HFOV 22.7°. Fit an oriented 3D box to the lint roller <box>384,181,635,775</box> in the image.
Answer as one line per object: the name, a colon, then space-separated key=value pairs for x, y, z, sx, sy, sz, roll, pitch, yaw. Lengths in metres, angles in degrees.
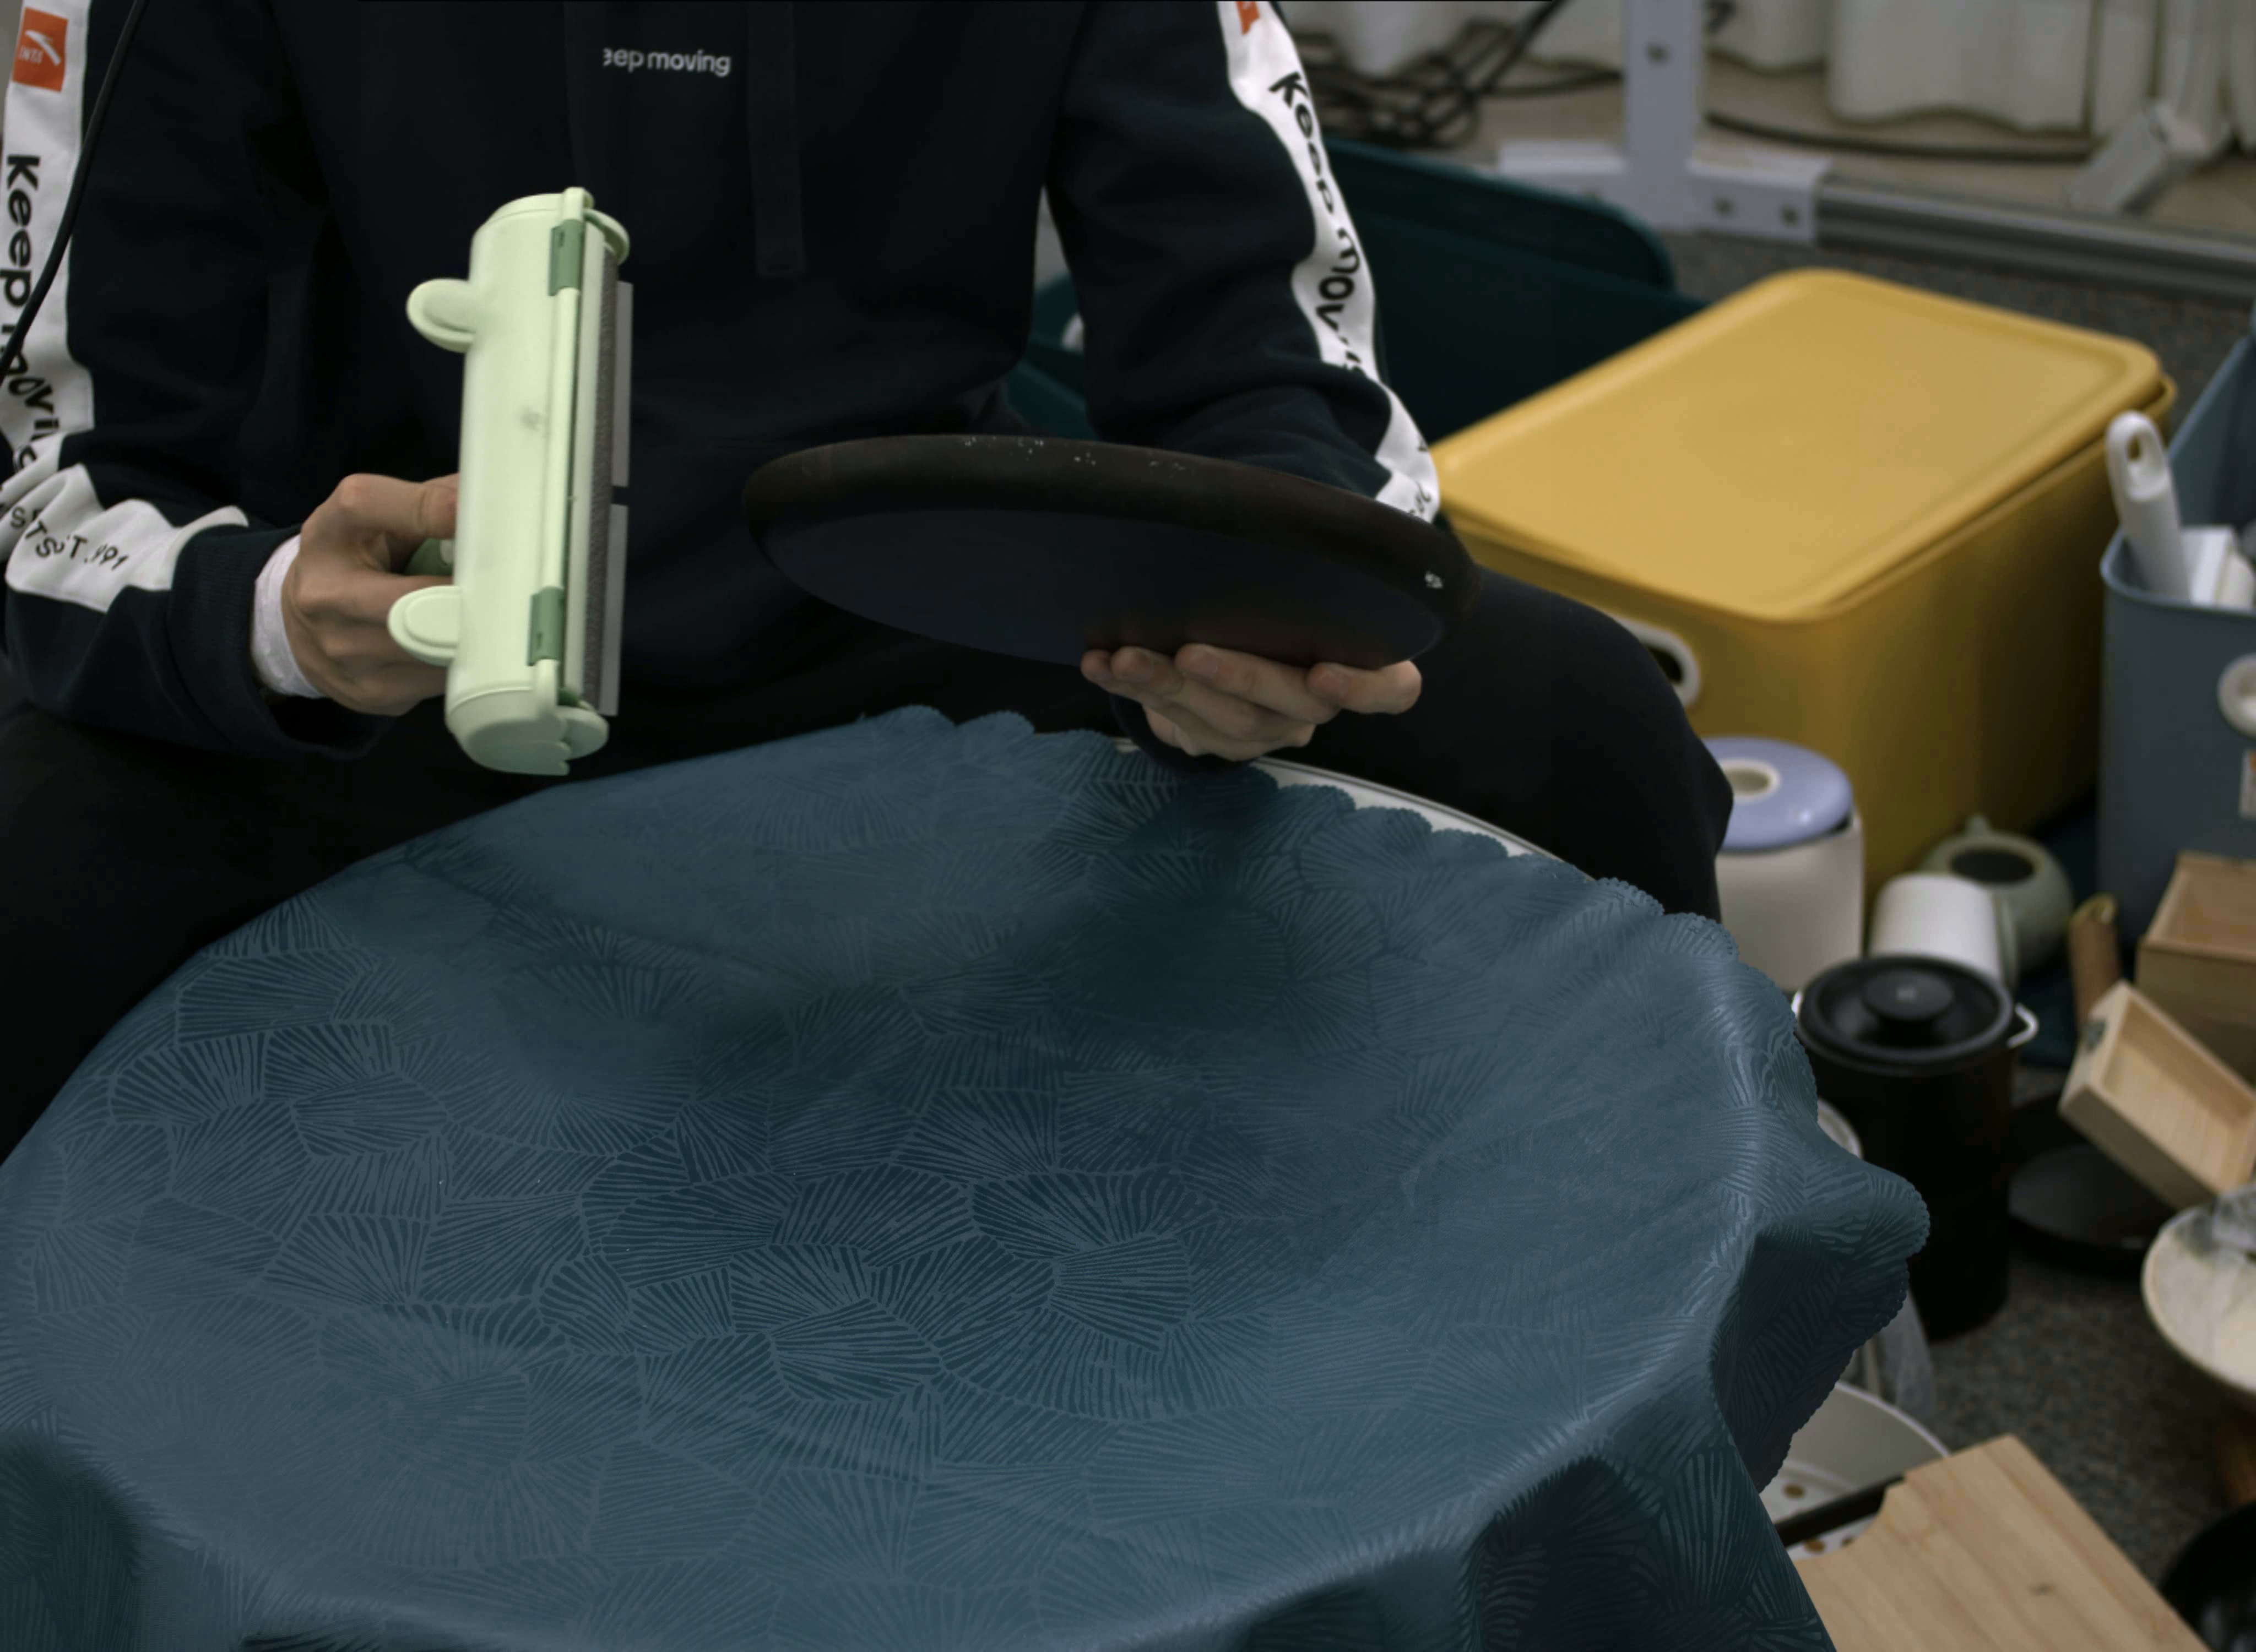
lint roller: x=-0.232 y=-0.101 z=1.928 sx=0.082 sy=0.202 sz=0.180 roll=15 pitch=-27 yaw=-32

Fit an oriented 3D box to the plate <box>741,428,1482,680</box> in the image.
plate: x=-0.006 y=-0.089 z=1.900 sx=0.253 sy=0.029 sz=0.253 roll=6 pitch=-10 yaw=2
